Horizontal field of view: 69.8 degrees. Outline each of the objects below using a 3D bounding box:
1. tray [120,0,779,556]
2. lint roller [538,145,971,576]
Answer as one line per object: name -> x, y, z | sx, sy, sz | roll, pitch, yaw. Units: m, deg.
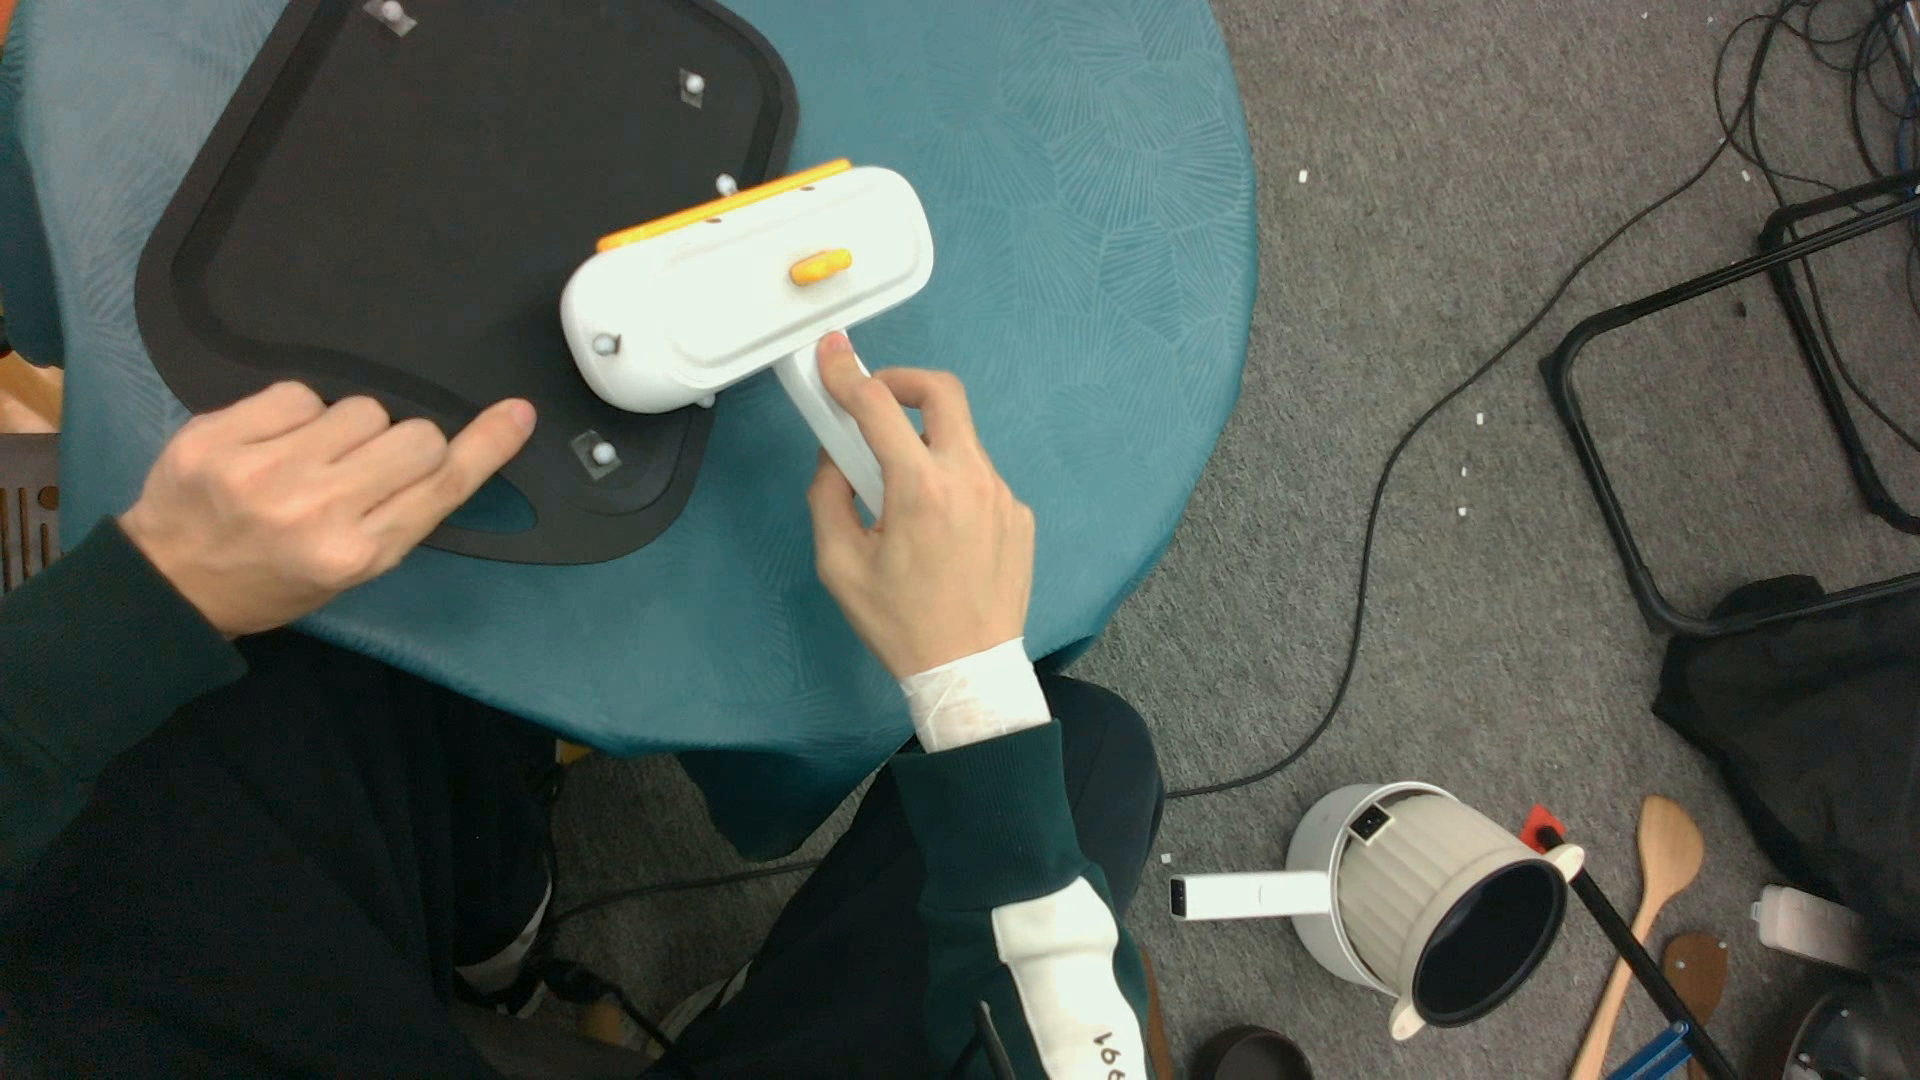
tray -> -0.187, -0.147, 0.568 | 0.211, 0.010, 0.327 | 26, 55, -27
lint roller -> -0.063, -0.066, 0.596 | 0.194, 0.074, 0.192 | -45, 112, -50
